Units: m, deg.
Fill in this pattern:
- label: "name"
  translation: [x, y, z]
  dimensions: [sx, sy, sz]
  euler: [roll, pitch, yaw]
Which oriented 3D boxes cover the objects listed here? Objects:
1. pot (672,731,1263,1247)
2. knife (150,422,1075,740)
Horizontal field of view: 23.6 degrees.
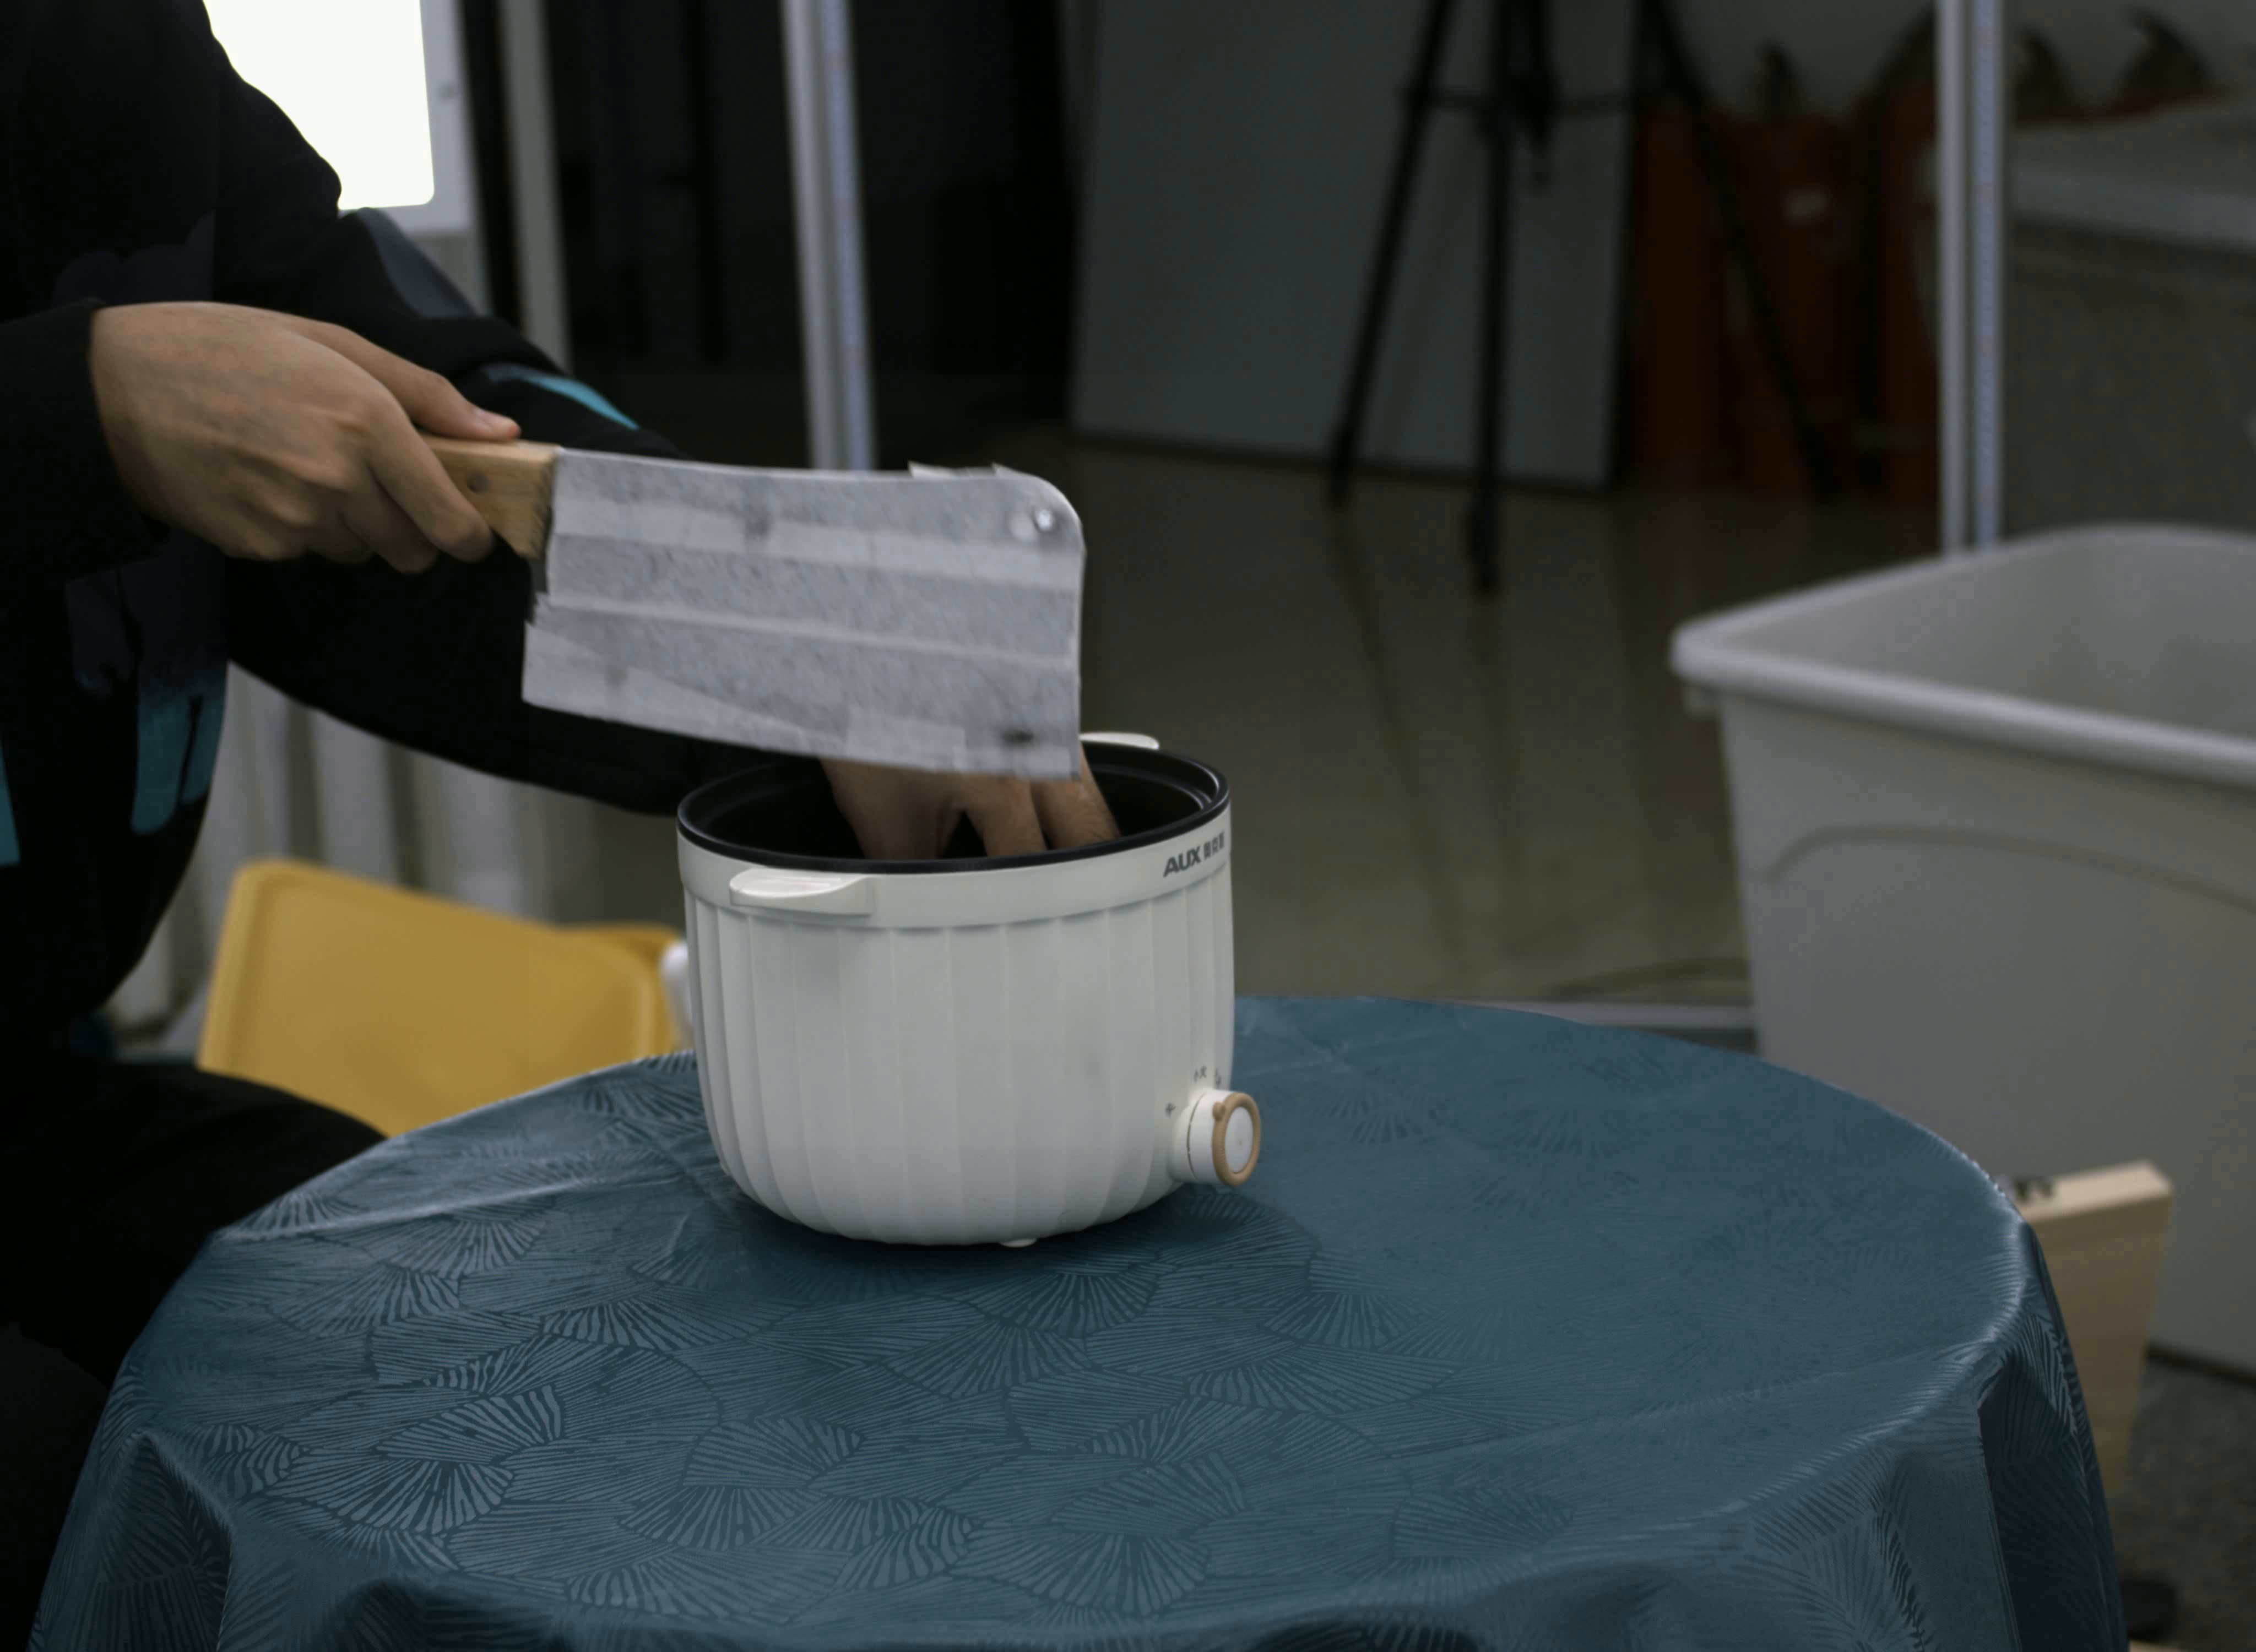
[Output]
- label: "pot"
  translation: [-0.049, 0.055, 1.757]
  dimensions: [0.191, 0.144, 0.237]
  euler: [0, 13, 29]
- label: "knife"
  translation: [-0.163, -0.091, 1.732]
  dimensions: [0.313, 0.115, 0.021]
  euler: [10, 14, 11]
